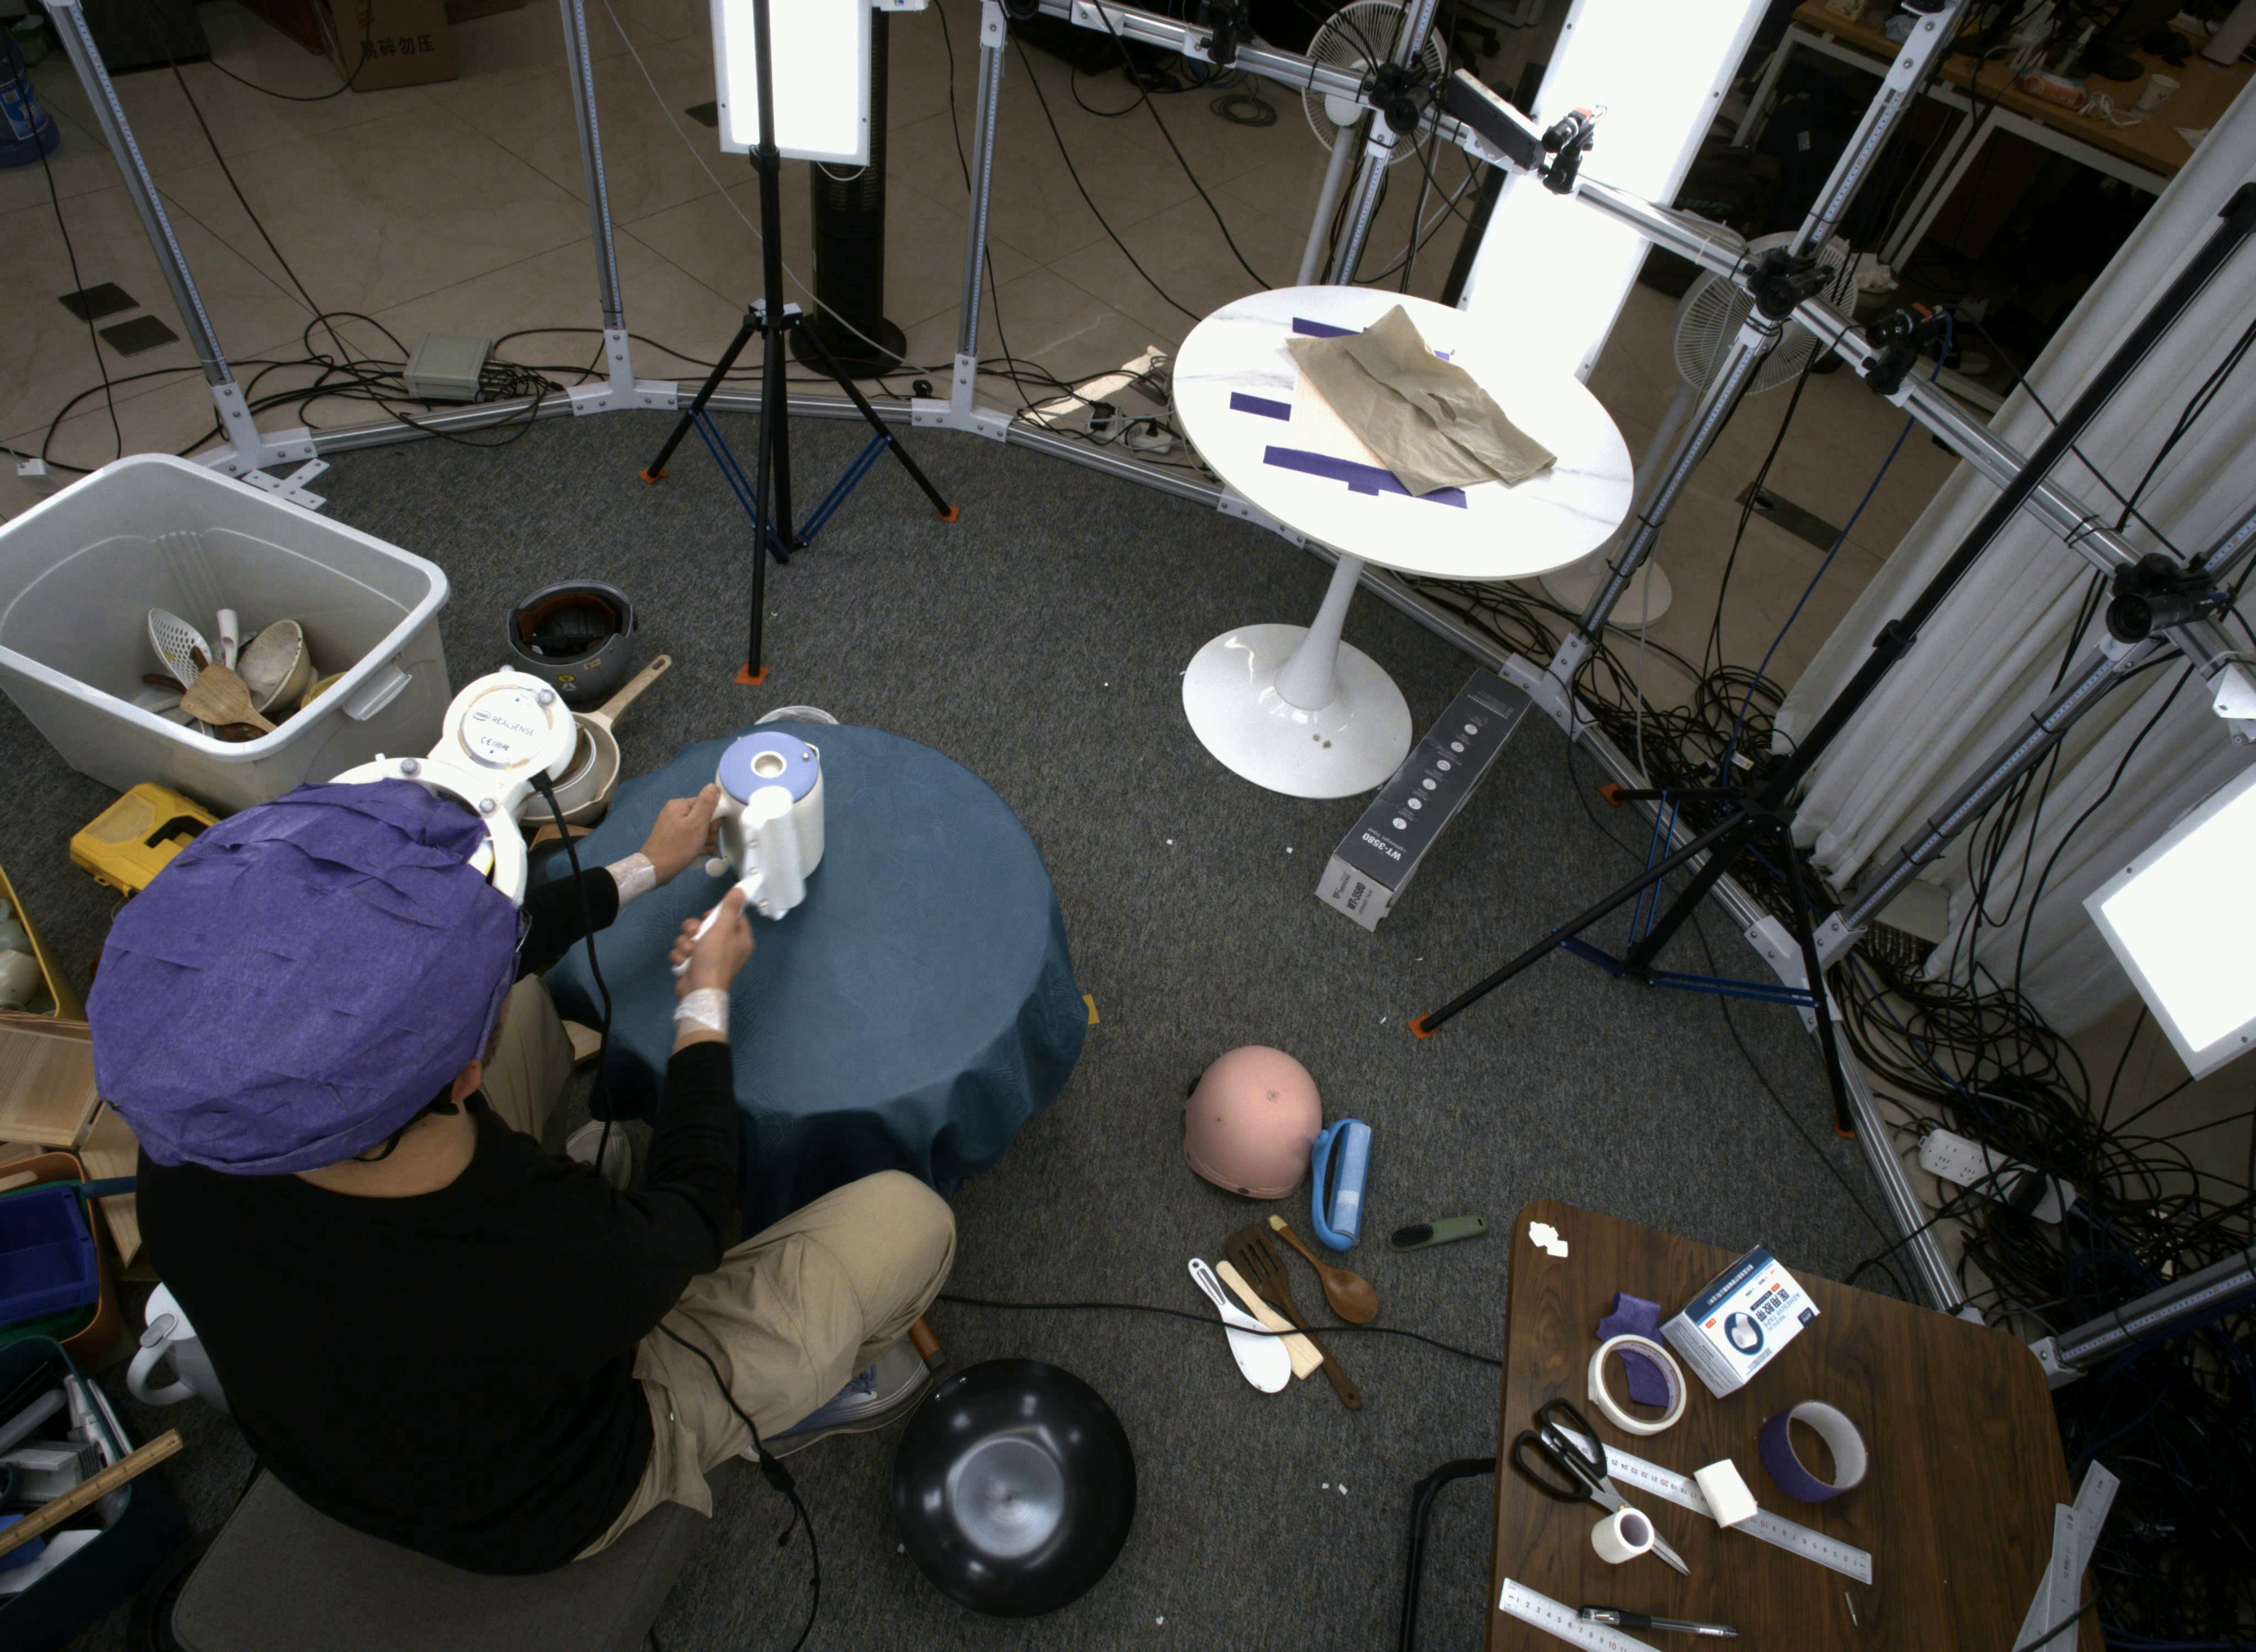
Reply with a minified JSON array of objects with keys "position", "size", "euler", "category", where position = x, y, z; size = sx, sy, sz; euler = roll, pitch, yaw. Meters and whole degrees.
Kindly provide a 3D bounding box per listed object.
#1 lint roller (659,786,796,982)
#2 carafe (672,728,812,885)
[{"position":[-0.461,0.089,1.488],"size":[0.047,0.207,0.224],"euler":[23,55,8],"category":"lint roller"},{"position":[-0.481,-0.008,1.598],"size":[0.191,0.186,0.129],"euler":[-35,66,-31],"category":"carafe"}]
